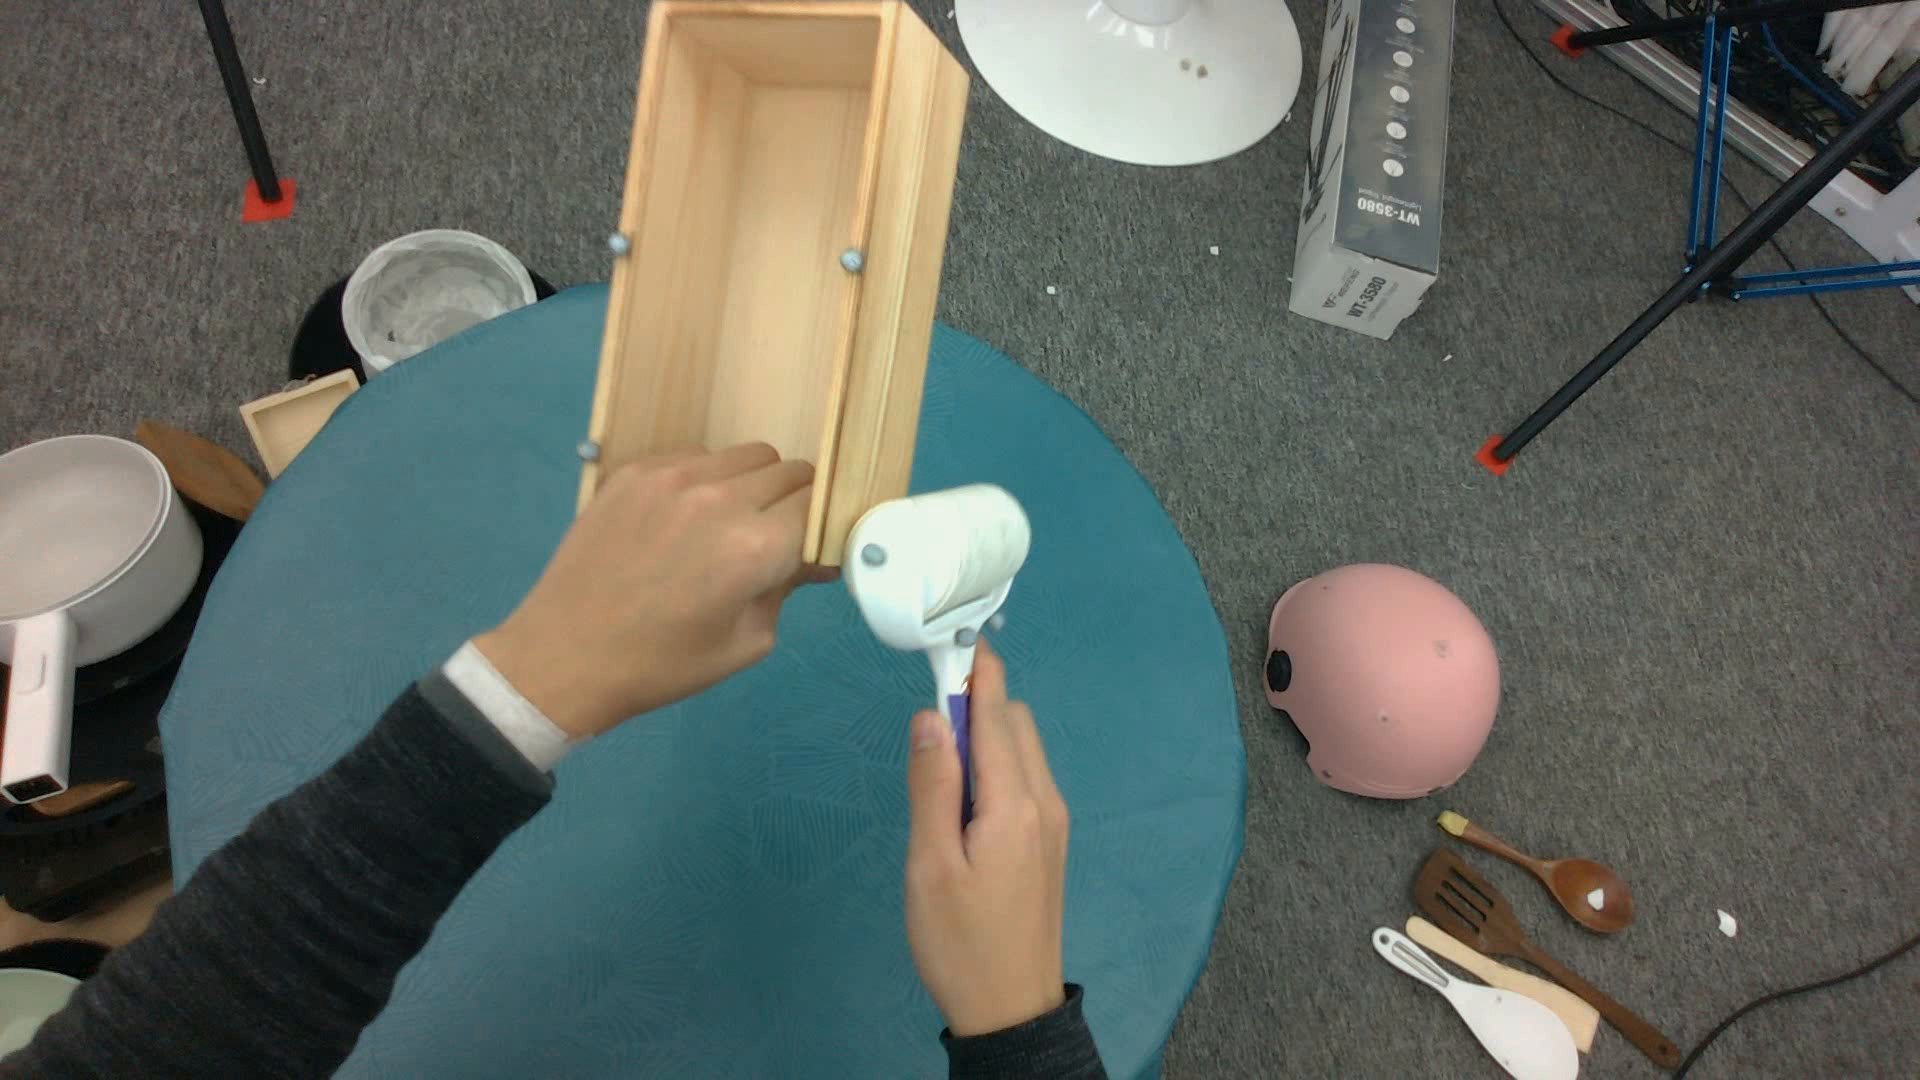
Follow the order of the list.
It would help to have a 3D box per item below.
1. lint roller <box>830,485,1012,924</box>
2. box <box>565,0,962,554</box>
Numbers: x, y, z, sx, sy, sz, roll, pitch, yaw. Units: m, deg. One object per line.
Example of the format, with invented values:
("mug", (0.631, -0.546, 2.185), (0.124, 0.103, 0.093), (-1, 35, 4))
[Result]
("lint roller", (0.001, 0.068, 0.563), (0.050, 0.133, 0.181), (-14, 90, 17))
("box", (-0.076, -0.107, 0.553), (0.107, 0.080, 0.211), (10, 92, 16))
